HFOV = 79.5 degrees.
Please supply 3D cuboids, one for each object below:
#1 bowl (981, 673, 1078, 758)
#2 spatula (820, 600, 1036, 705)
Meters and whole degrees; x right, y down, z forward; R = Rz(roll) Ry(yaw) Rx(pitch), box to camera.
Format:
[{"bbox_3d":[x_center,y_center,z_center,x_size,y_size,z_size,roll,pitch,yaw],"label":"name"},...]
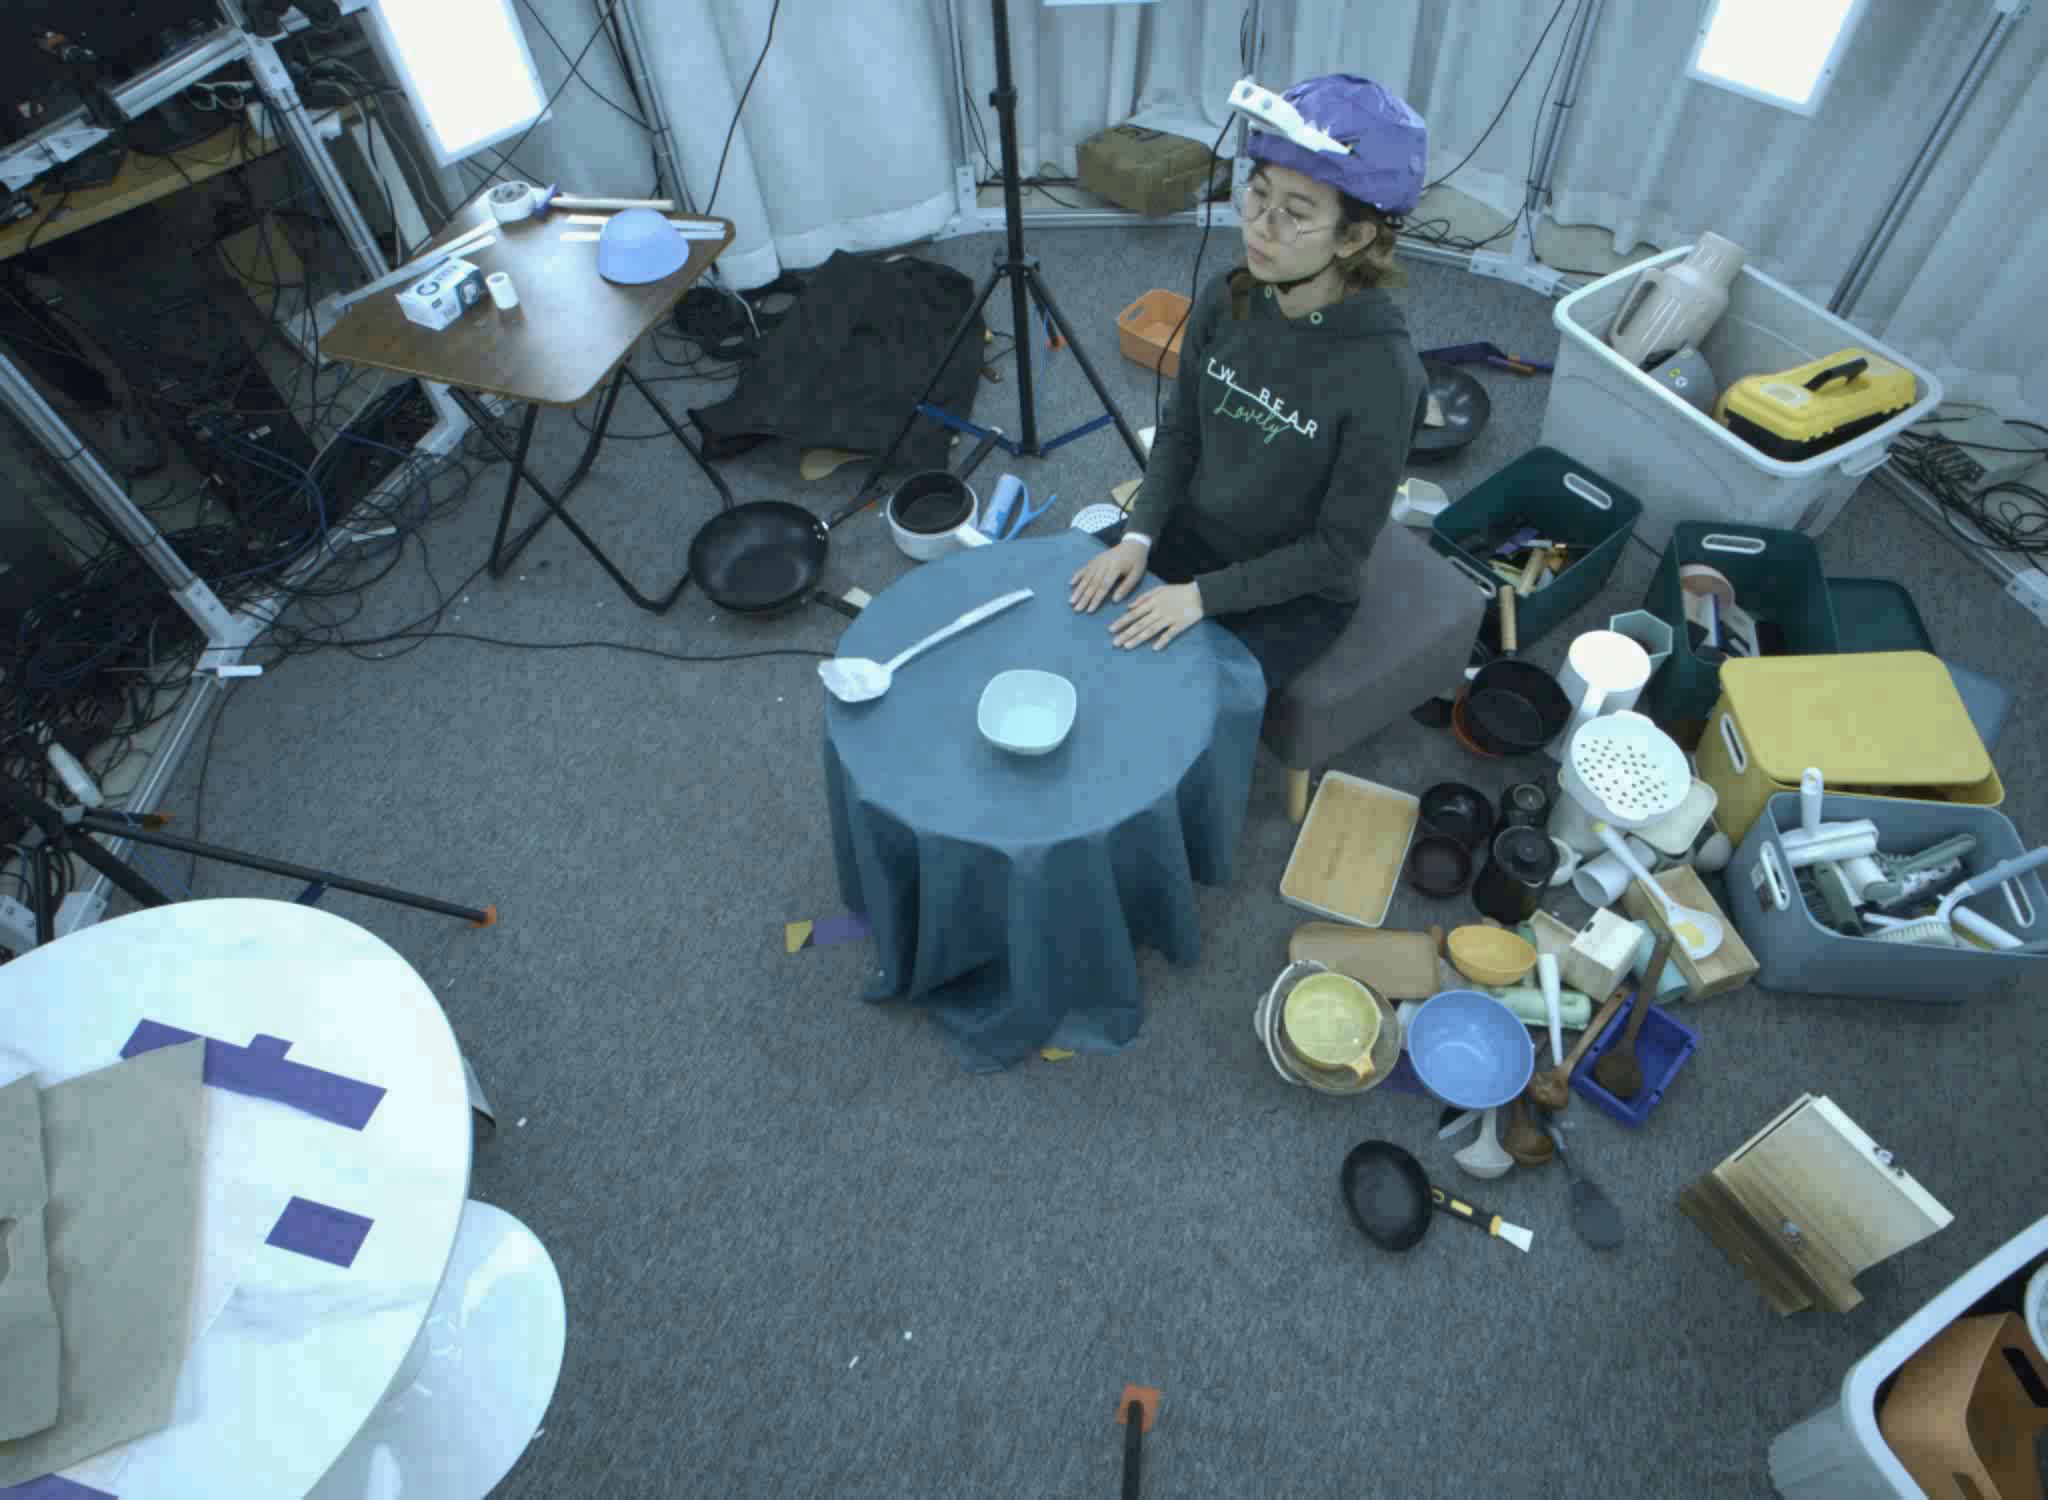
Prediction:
[{"bbox_3d":[0.009,-0.040,1.794,0.151,0.059,0.150,0,57,1],"label":"bowl"},{"bbox_3d":[-0.141,-0.166,1.895,0.368,0.045,0.097,-30,57,-18],"label":"spatula"}]
